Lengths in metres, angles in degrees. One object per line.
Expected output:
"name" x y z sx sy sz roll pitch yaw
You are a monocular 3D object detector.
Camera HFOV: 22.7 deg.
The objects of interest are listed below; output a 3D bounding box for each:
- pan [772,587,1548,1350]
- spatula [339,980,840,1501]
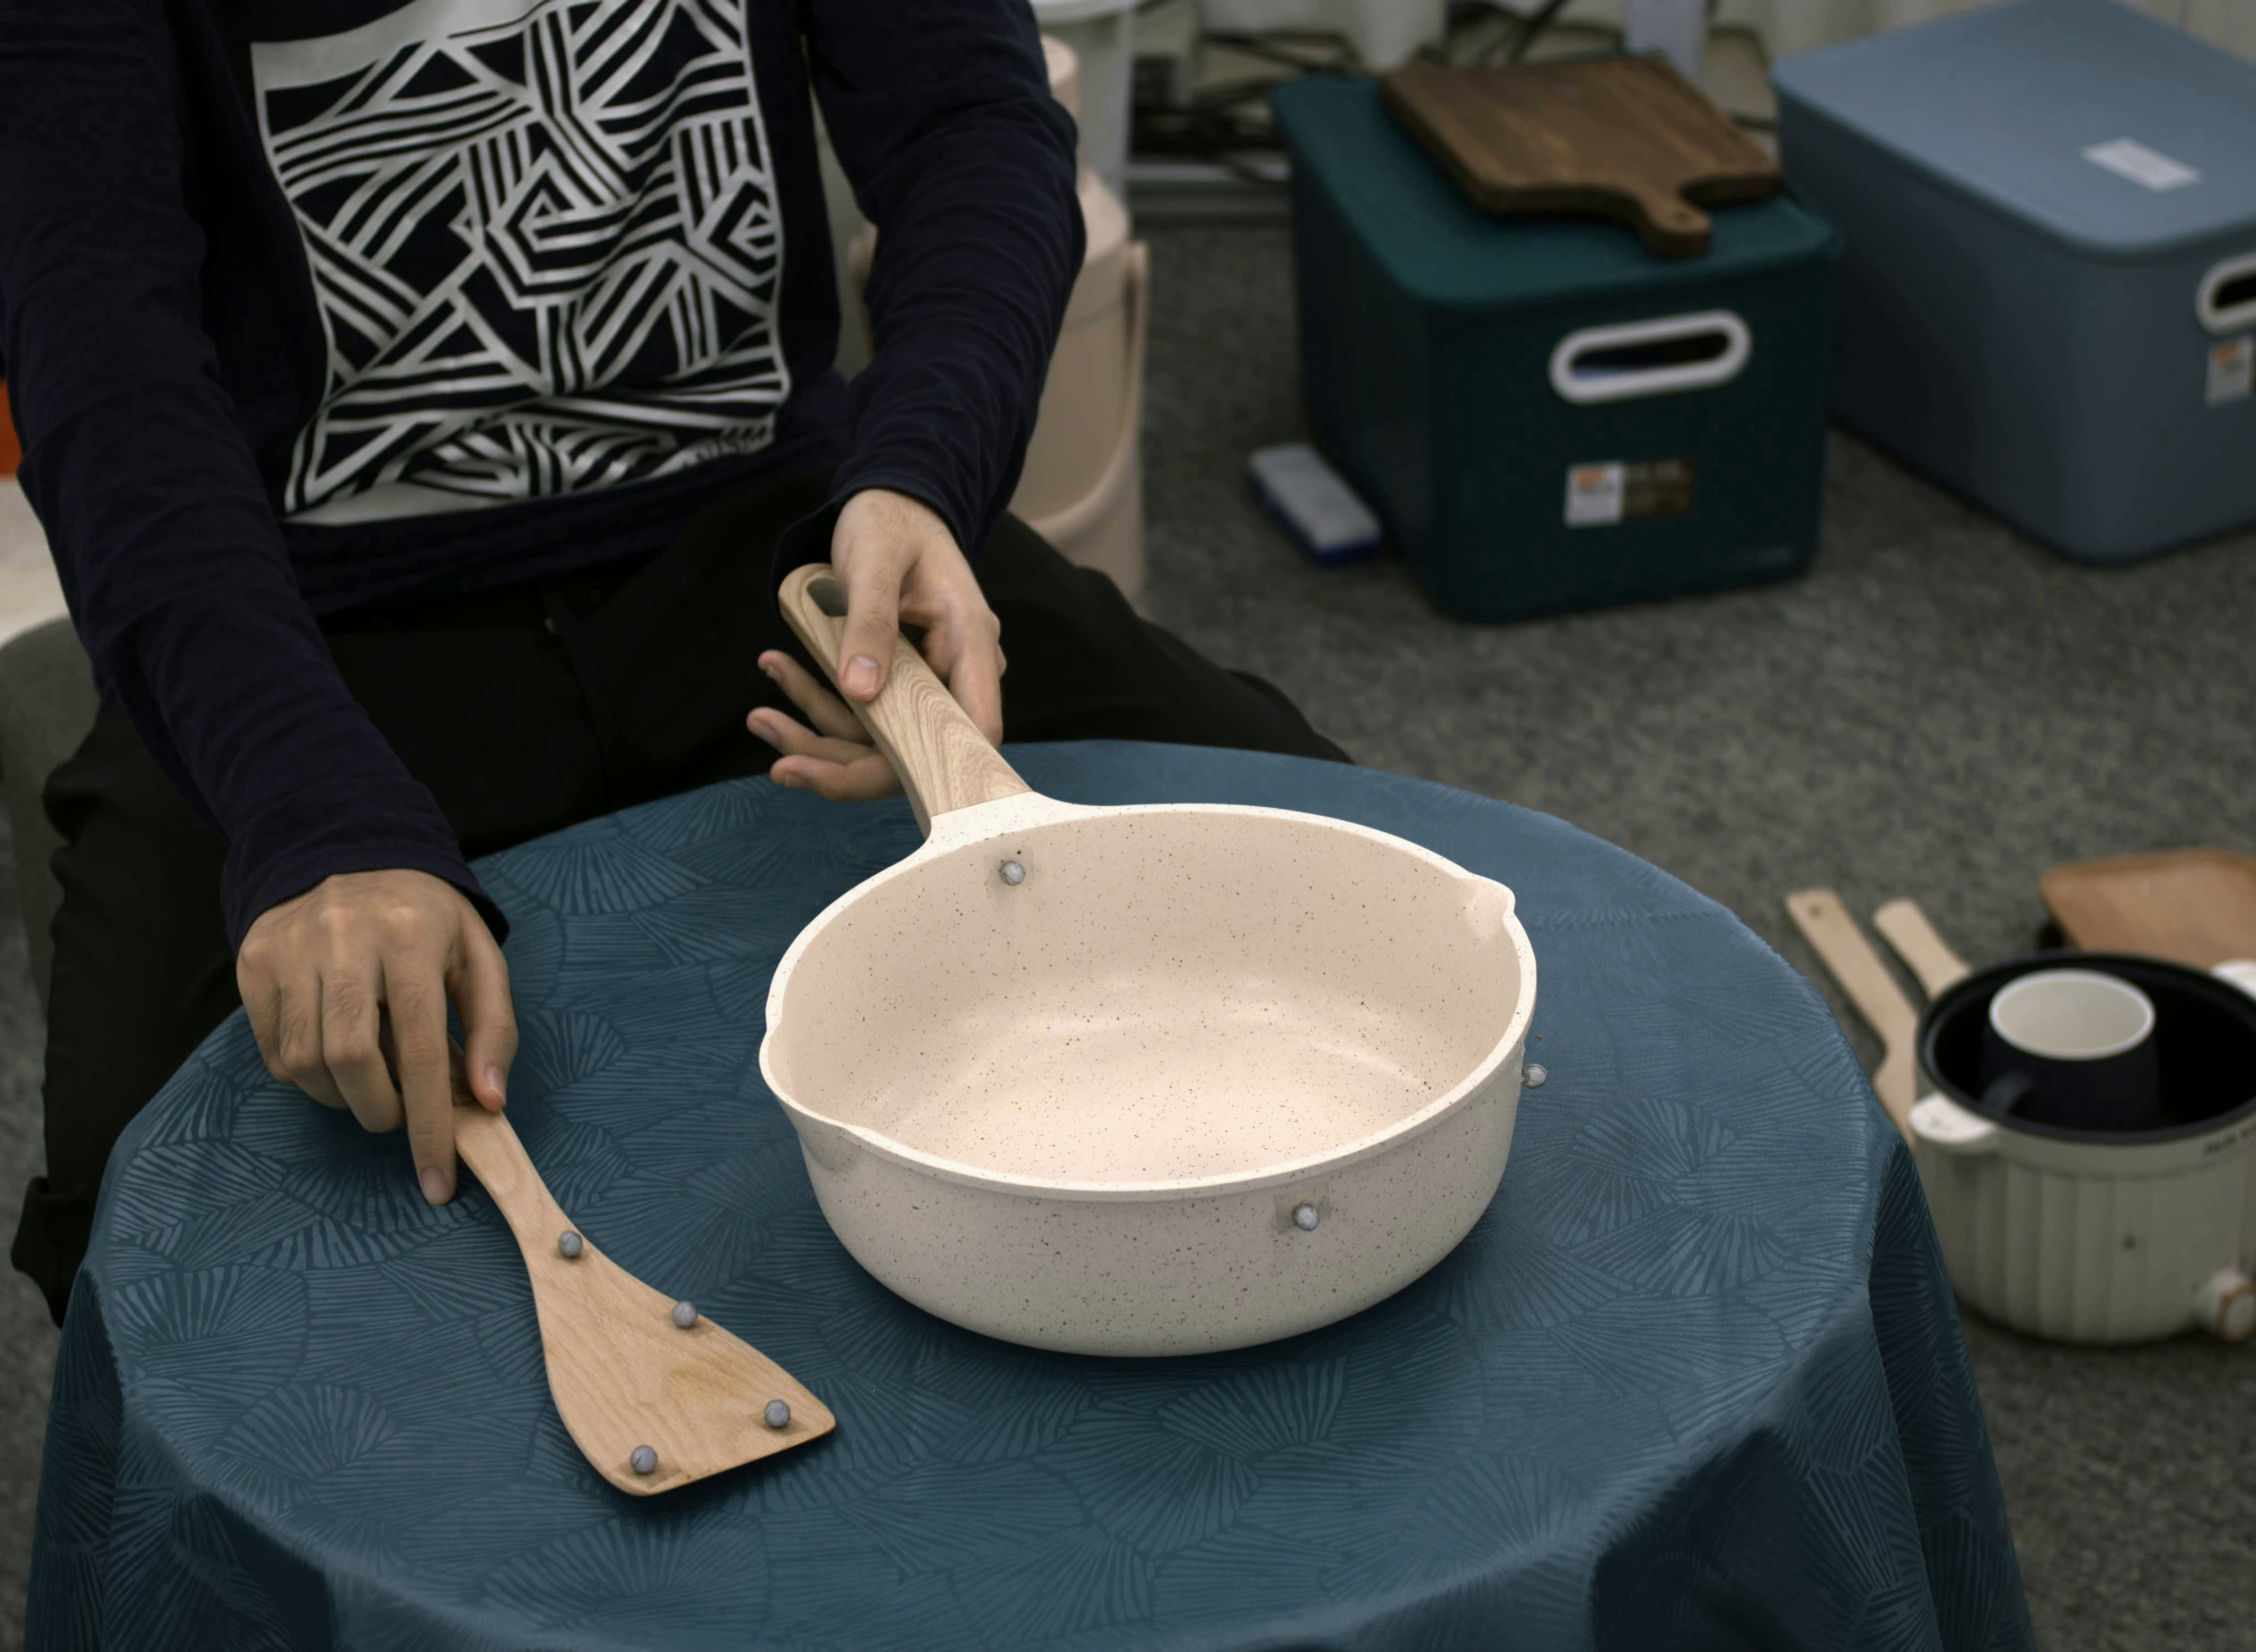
"pan" -0.025 0.042 1.919 0.264 0.101 0.437 -15 29 -20
"spatula" -0.191 0.129 1.840 0.080 0.016 0.330 -9 32 -26
